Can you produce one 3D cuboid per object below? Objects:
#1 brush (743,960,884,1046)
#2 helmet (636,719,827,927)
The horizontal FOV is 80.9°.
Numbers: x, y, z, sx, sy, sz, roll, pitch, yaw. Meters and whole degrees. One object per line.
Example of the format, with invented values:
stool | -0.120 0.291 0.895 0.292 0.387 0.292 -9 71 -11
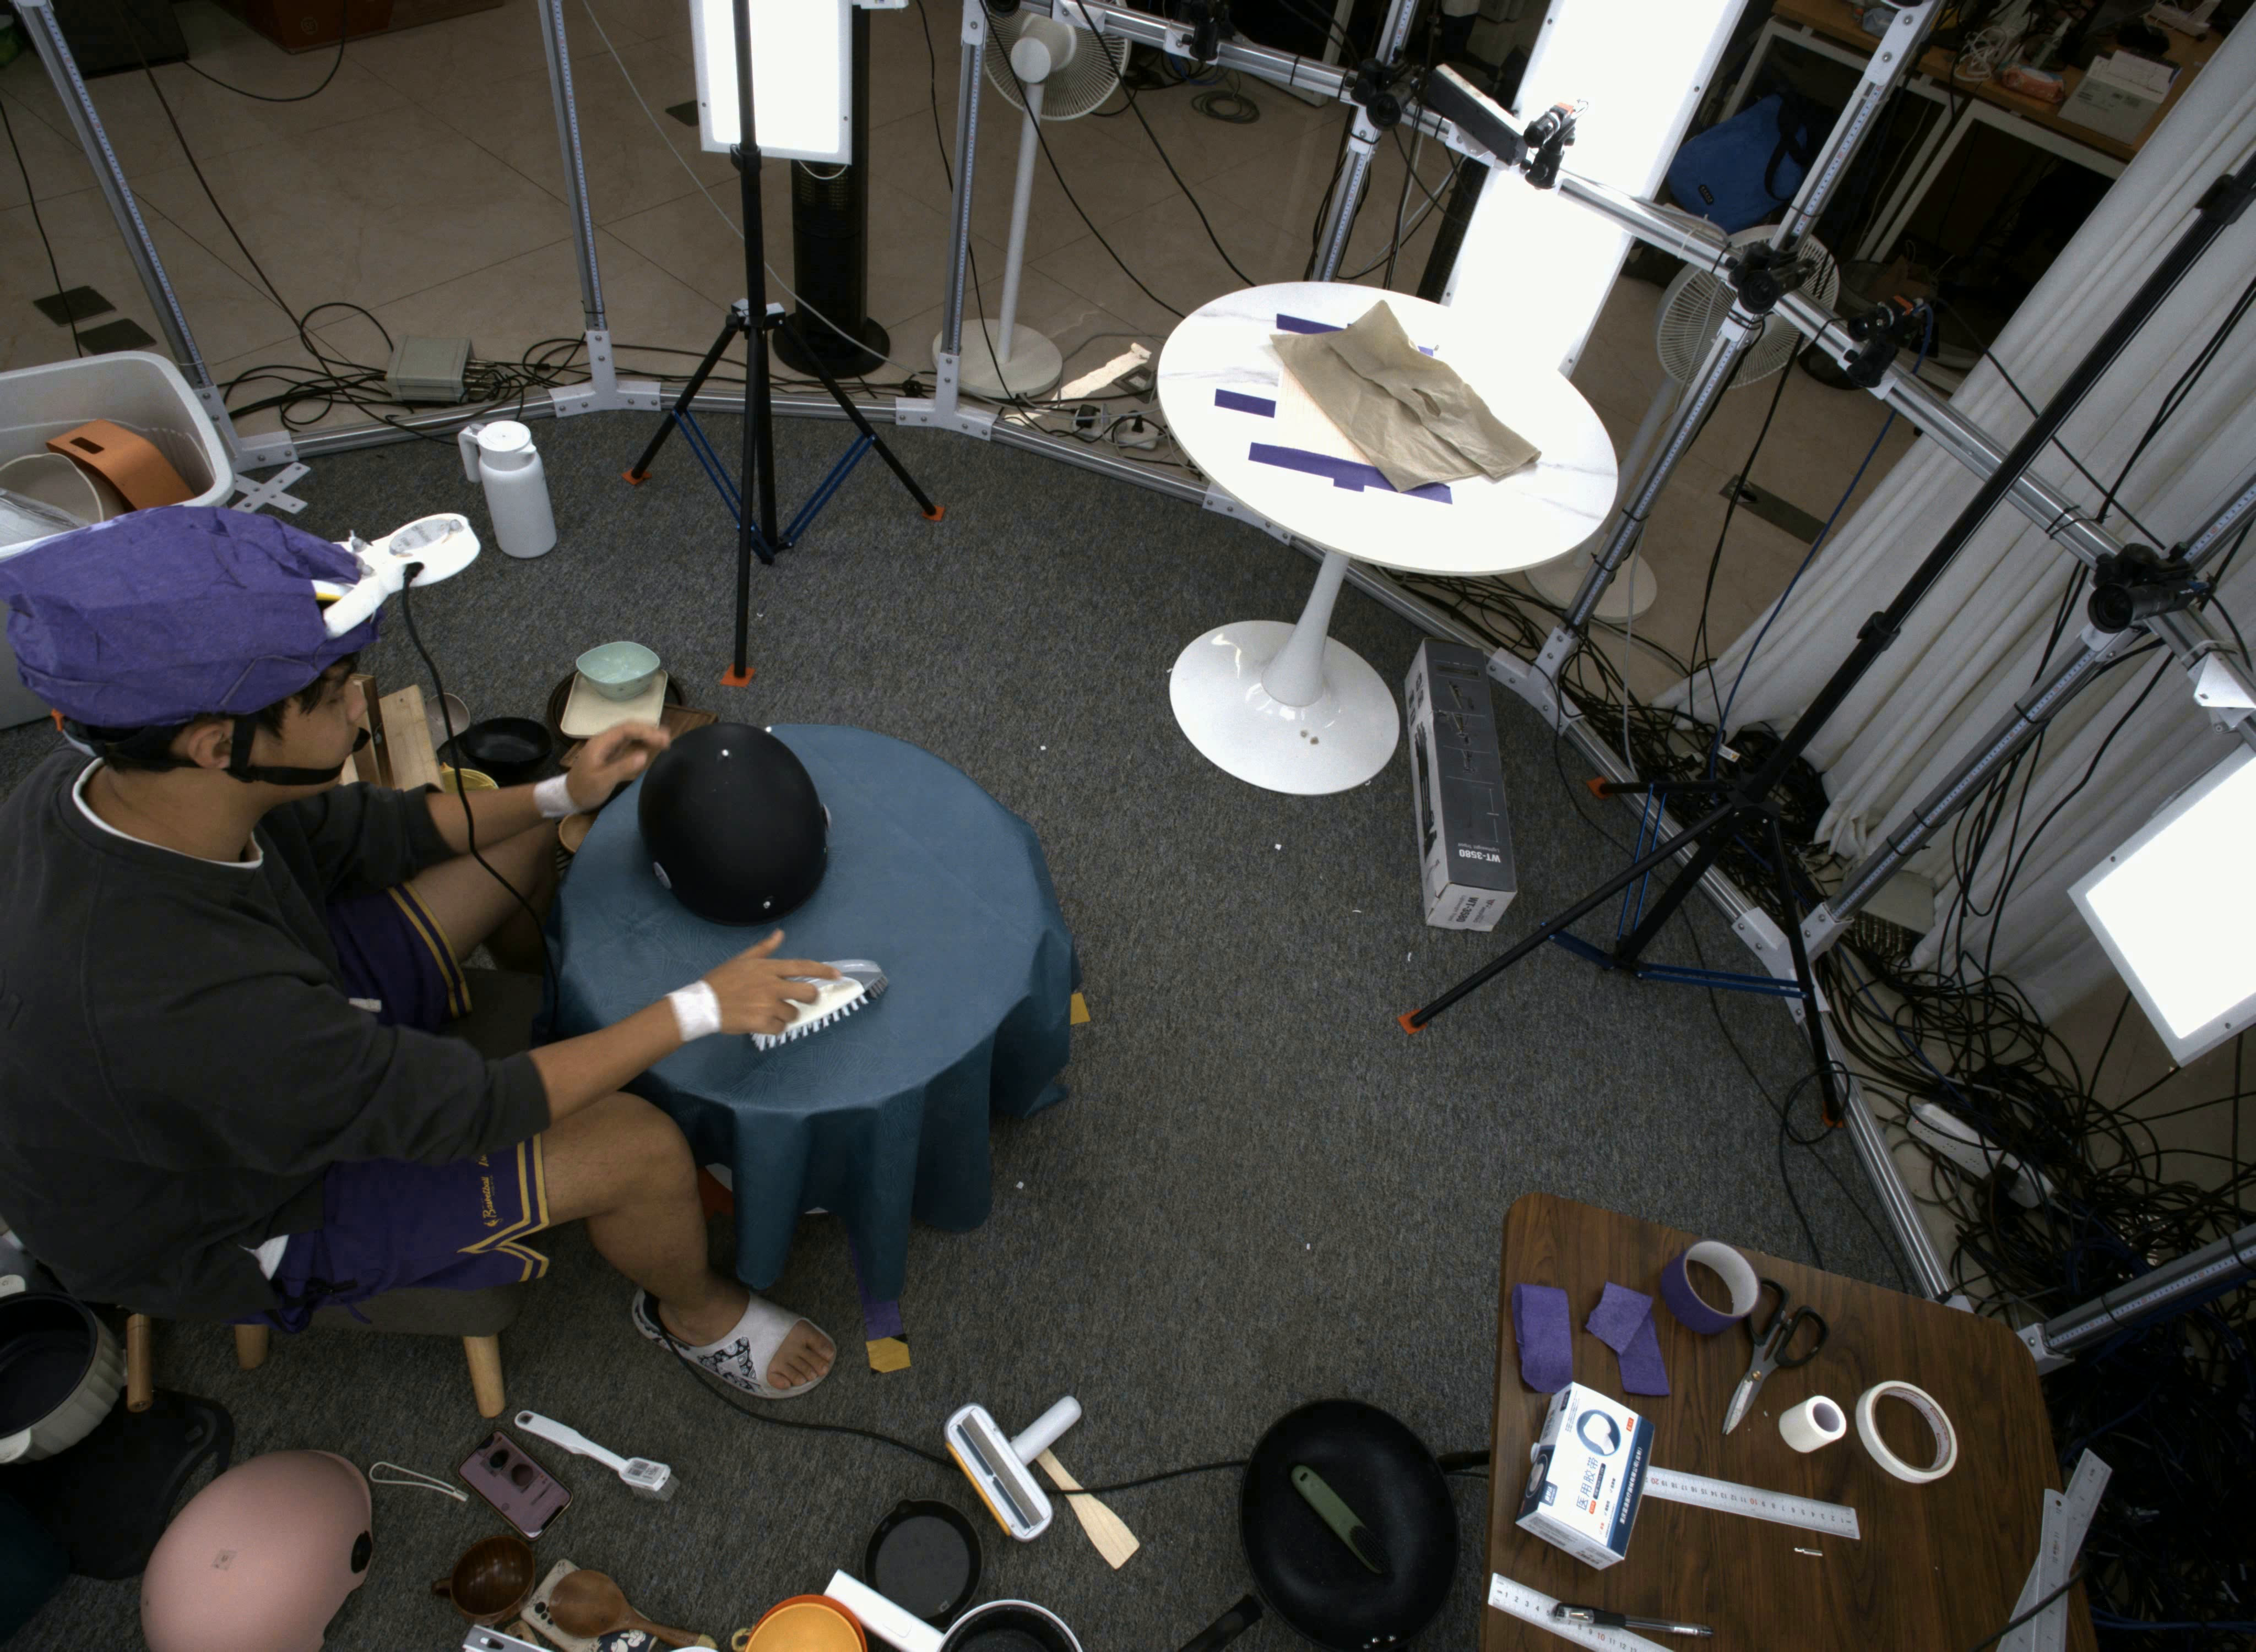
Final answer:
brush | -0.370 0.190 1.542 0.176 0.096 0.060 -18 61 -27
helmet | -0.502 -0.026 1.625 0.231 0.170 0.267 -21 63 -25
